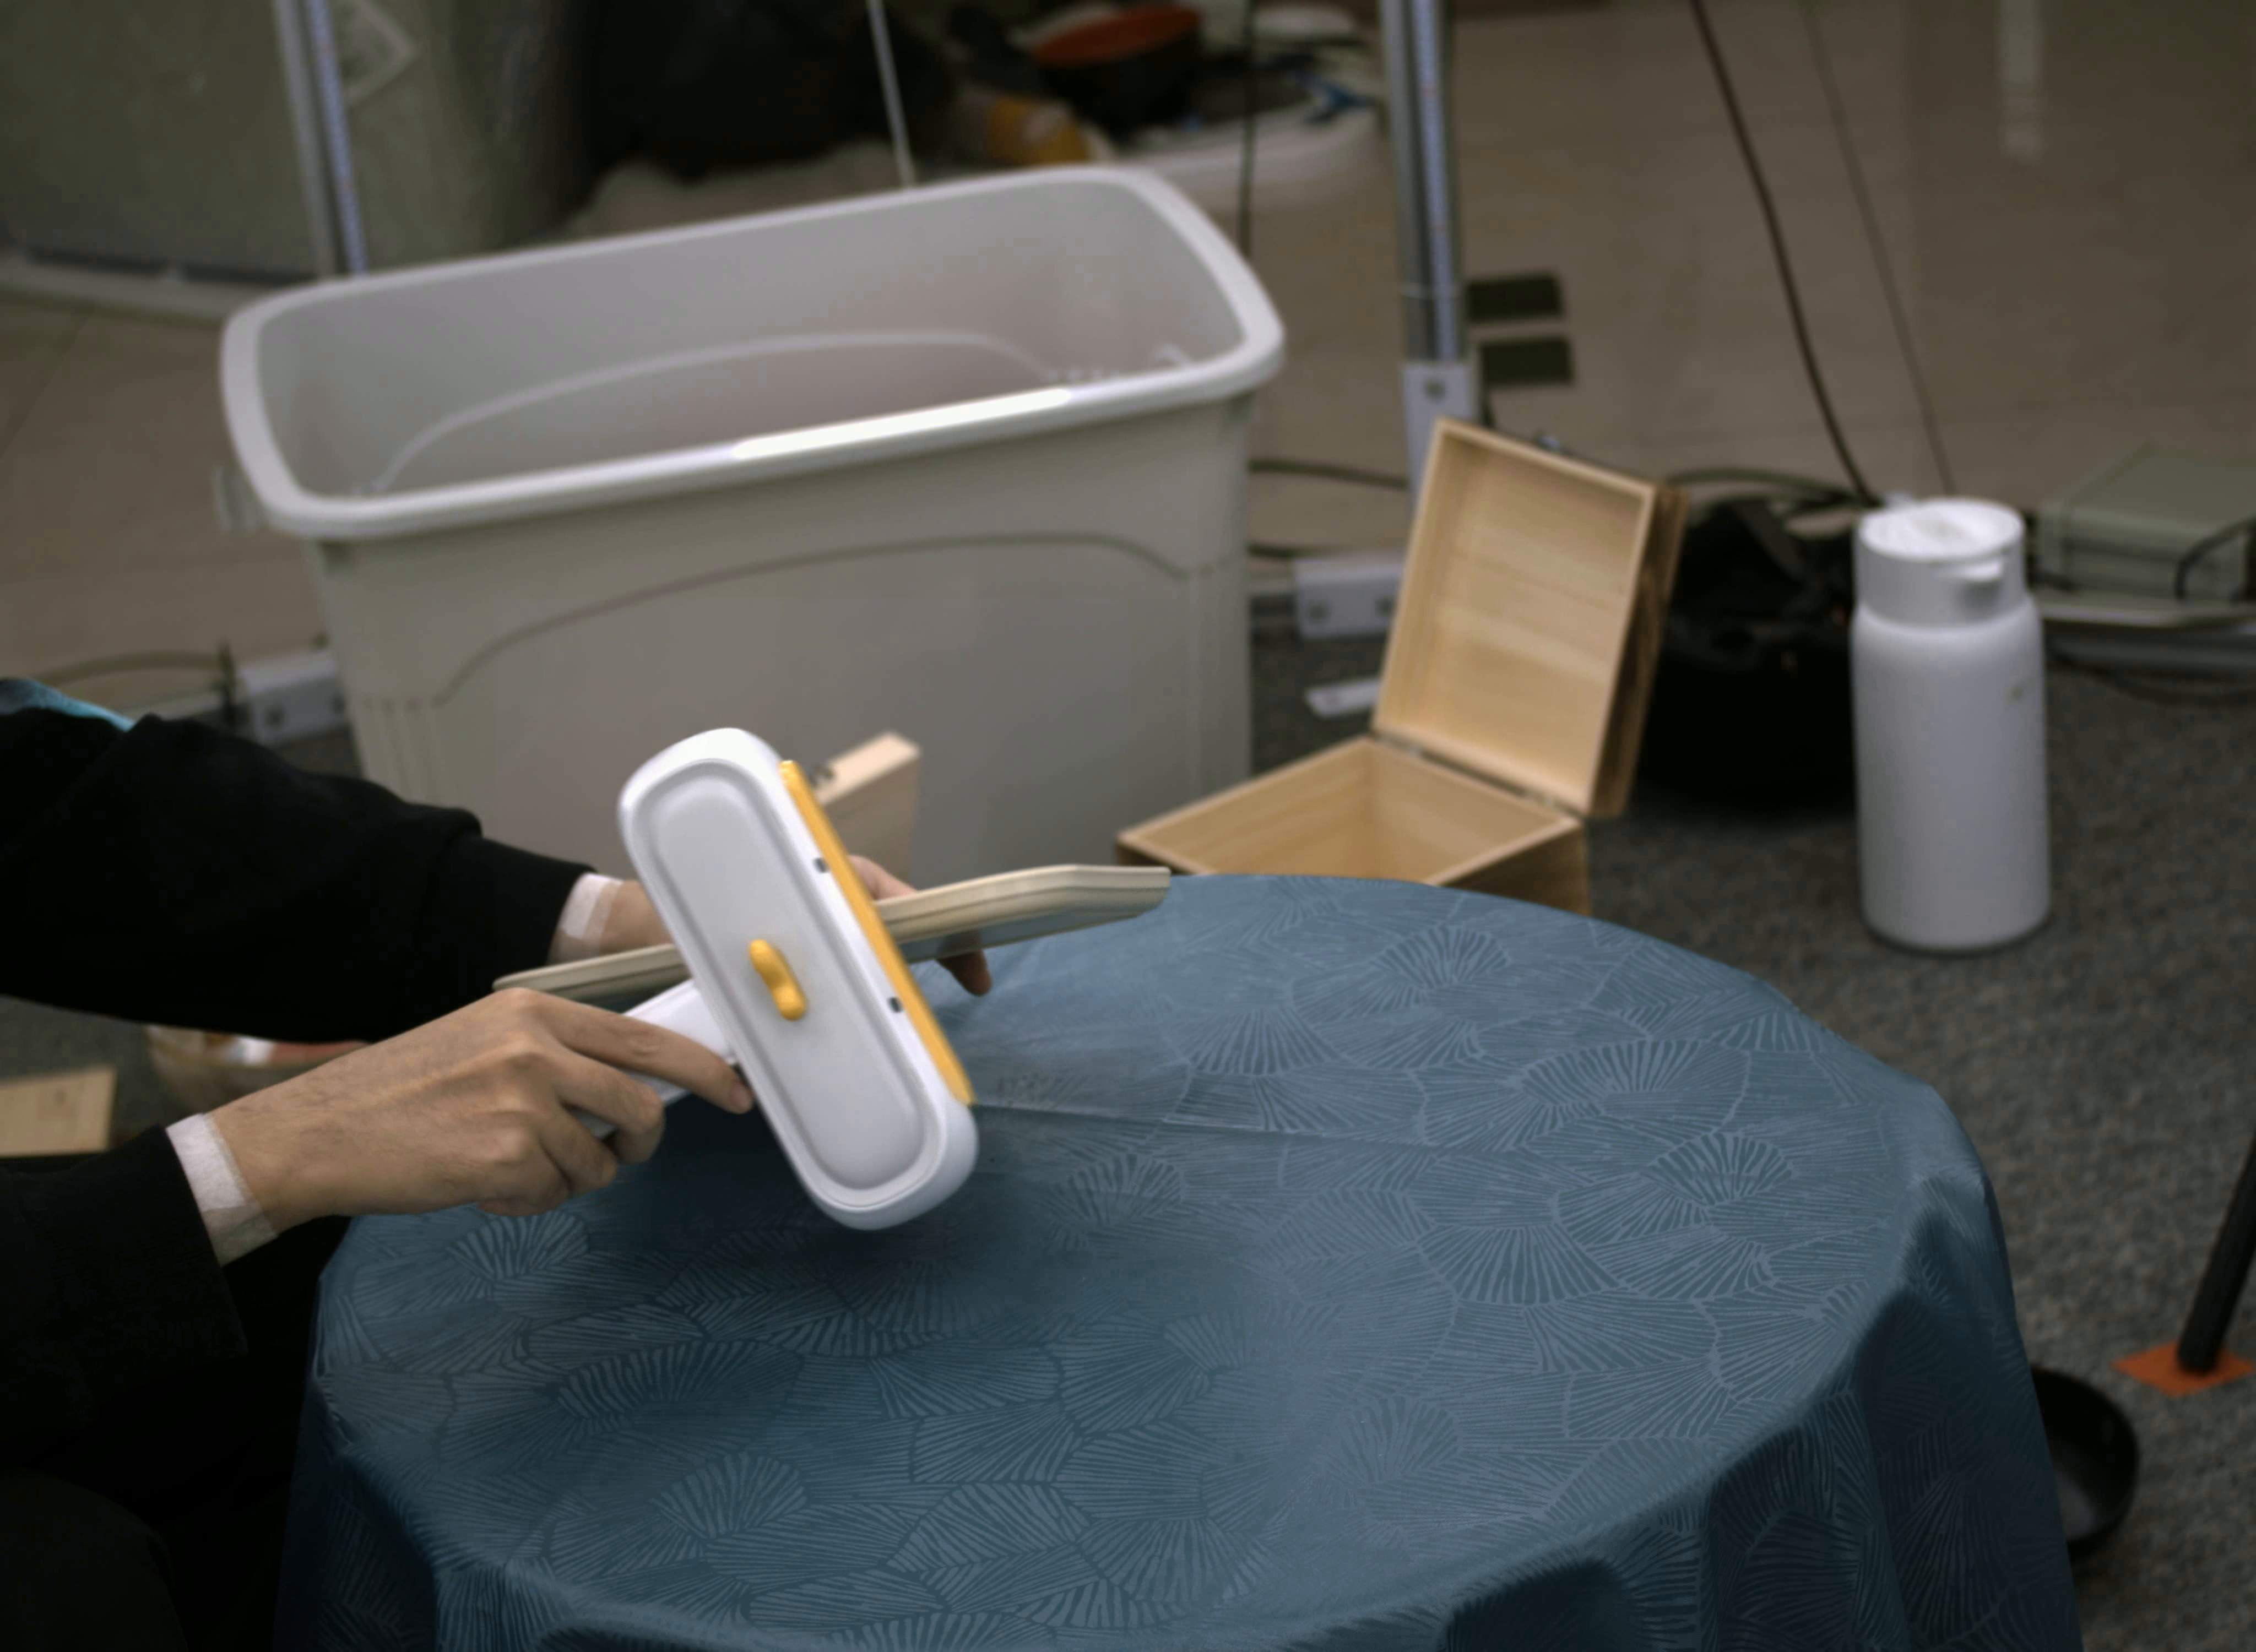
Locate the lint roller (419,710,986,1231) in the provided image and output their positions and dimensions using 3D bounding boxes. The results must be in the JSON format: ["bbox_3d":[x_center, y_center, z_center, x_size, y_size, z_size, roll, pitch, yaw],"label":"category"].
[{"bbox_3d":[-0.169,0.080,2.045,0.192,0.193,0.074,-32,4,-1],"label":"lint roller"}]

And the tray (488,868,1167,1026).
[{"bbox_3d":[-0.113,0.047,2.171,0.240,0.017,0.171,-12,-4,19],"label":"tray"}]
